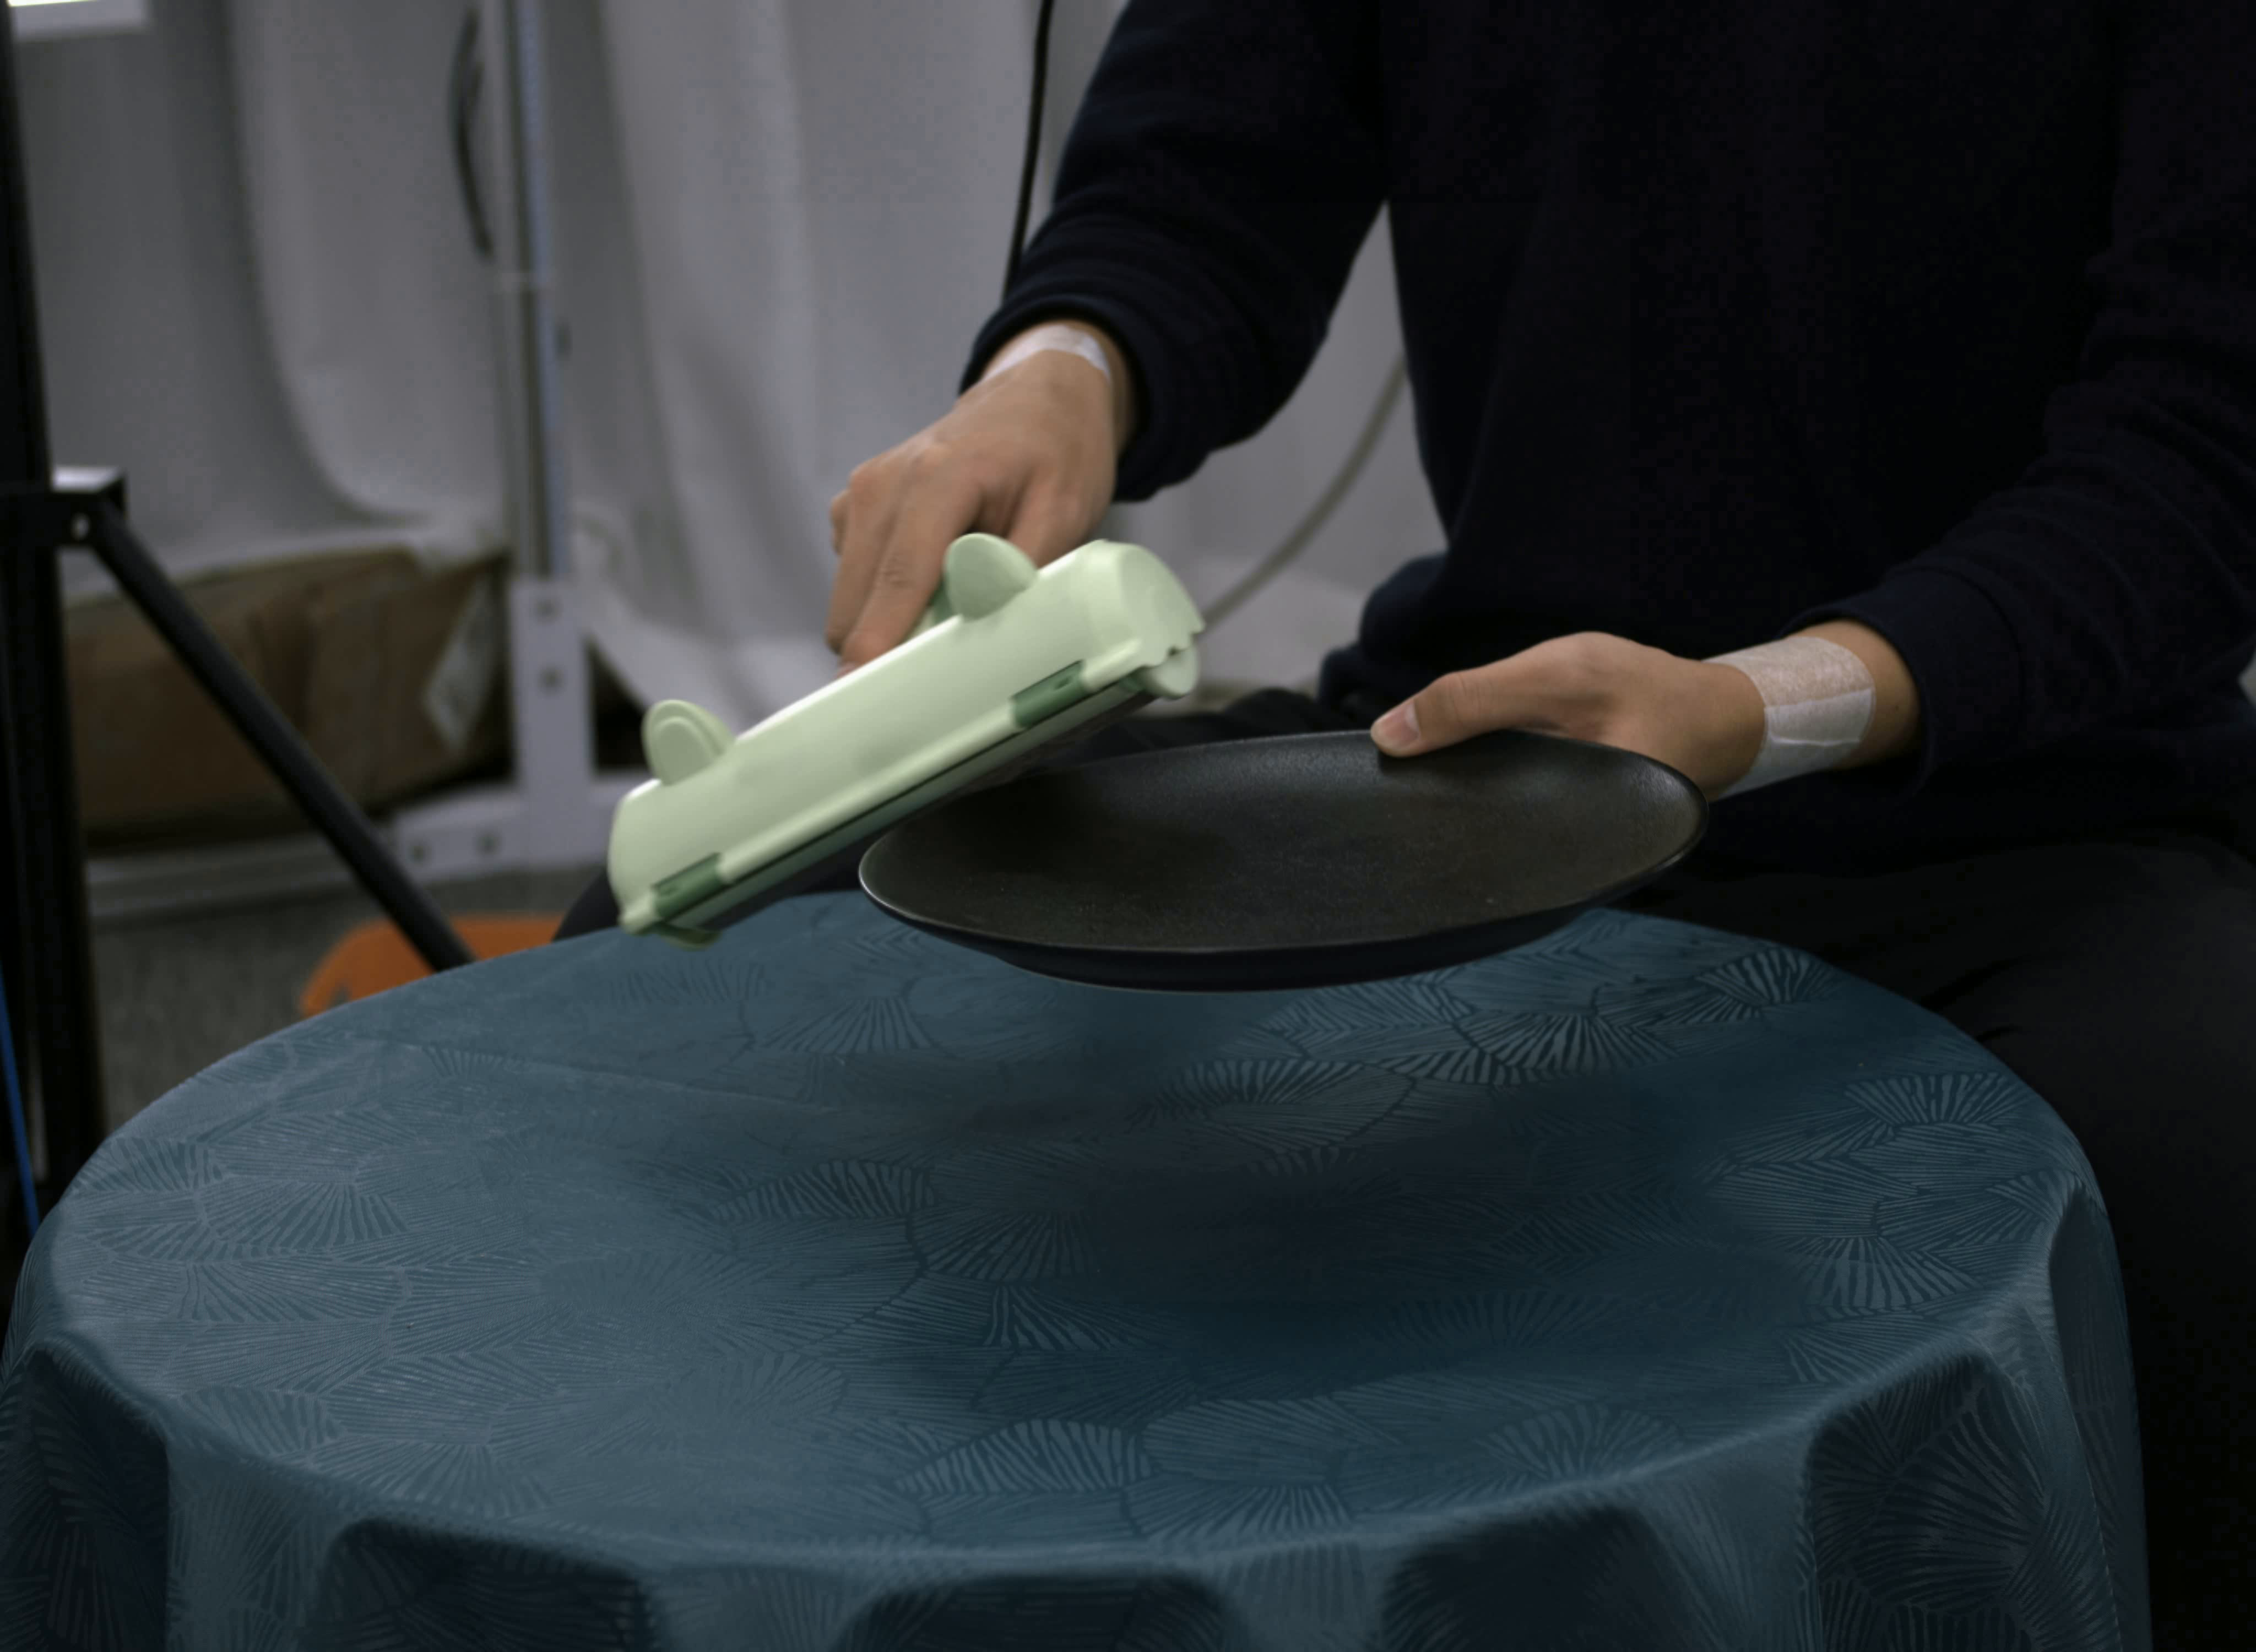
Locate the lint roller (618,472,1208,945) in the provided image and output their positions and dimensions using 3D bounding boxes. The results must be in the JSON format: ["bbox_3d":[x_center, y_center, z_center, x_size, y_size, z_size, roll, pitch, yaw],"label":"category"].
[{"bbox_3d":[-0.070,-0.067,1.653,0.200,0.080,0.185,-28,36,24],"label":"lint roller"}]

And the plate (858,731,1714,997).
[{"bbox_3d":[0.045,0.013,1.510,0.243,0.023,0.245,-5,14,0],"label":"plate"}]
